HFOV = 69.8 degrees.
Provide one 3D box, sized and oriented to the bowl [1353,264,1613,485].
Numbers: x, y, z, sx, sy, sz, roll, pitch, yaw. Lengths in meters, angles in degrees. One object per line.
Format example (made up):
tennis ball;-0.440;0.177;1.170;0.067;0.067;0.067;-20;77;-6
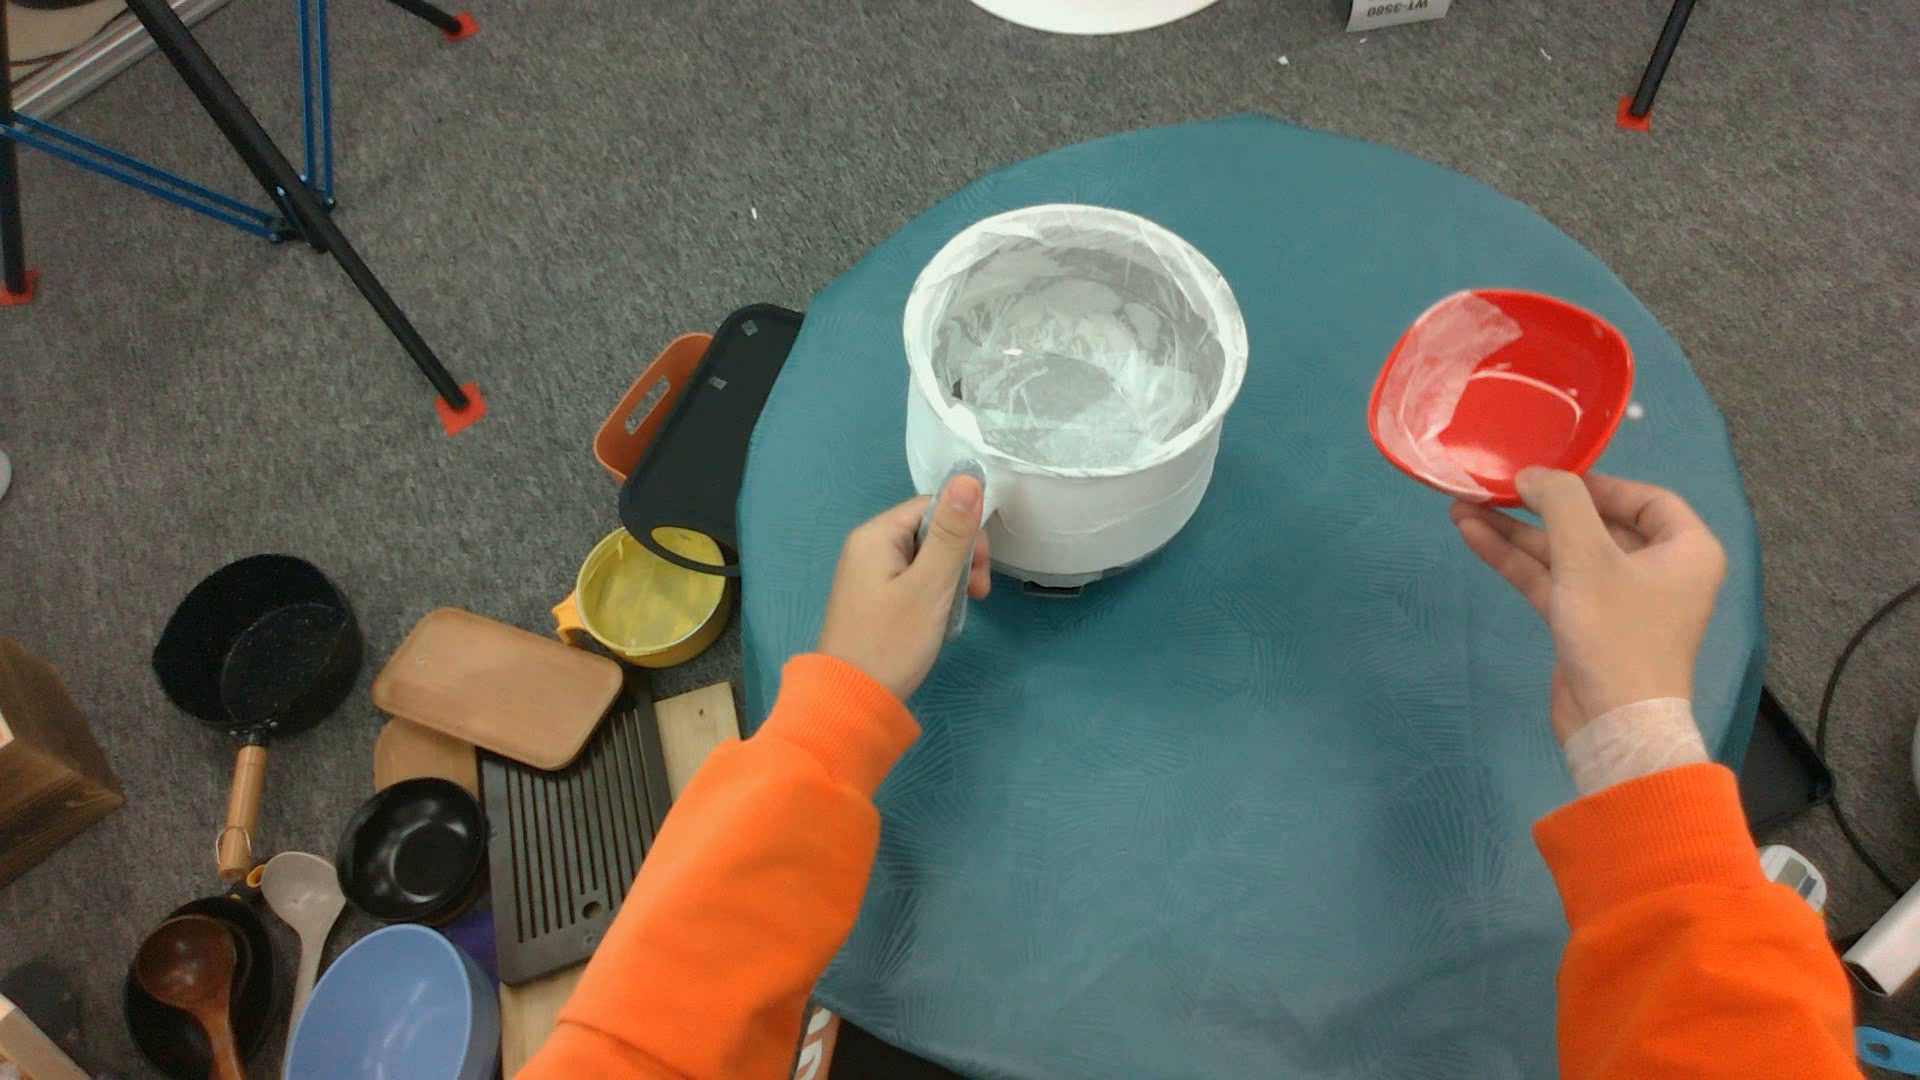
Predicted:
bowl;0.254;-0.073;0.670;0.118;0.051;0.119;-10;63;20

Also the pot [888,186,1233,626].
pot;0.037;-0.064;0.747;0.178;0.136;0.235;27;63;14
